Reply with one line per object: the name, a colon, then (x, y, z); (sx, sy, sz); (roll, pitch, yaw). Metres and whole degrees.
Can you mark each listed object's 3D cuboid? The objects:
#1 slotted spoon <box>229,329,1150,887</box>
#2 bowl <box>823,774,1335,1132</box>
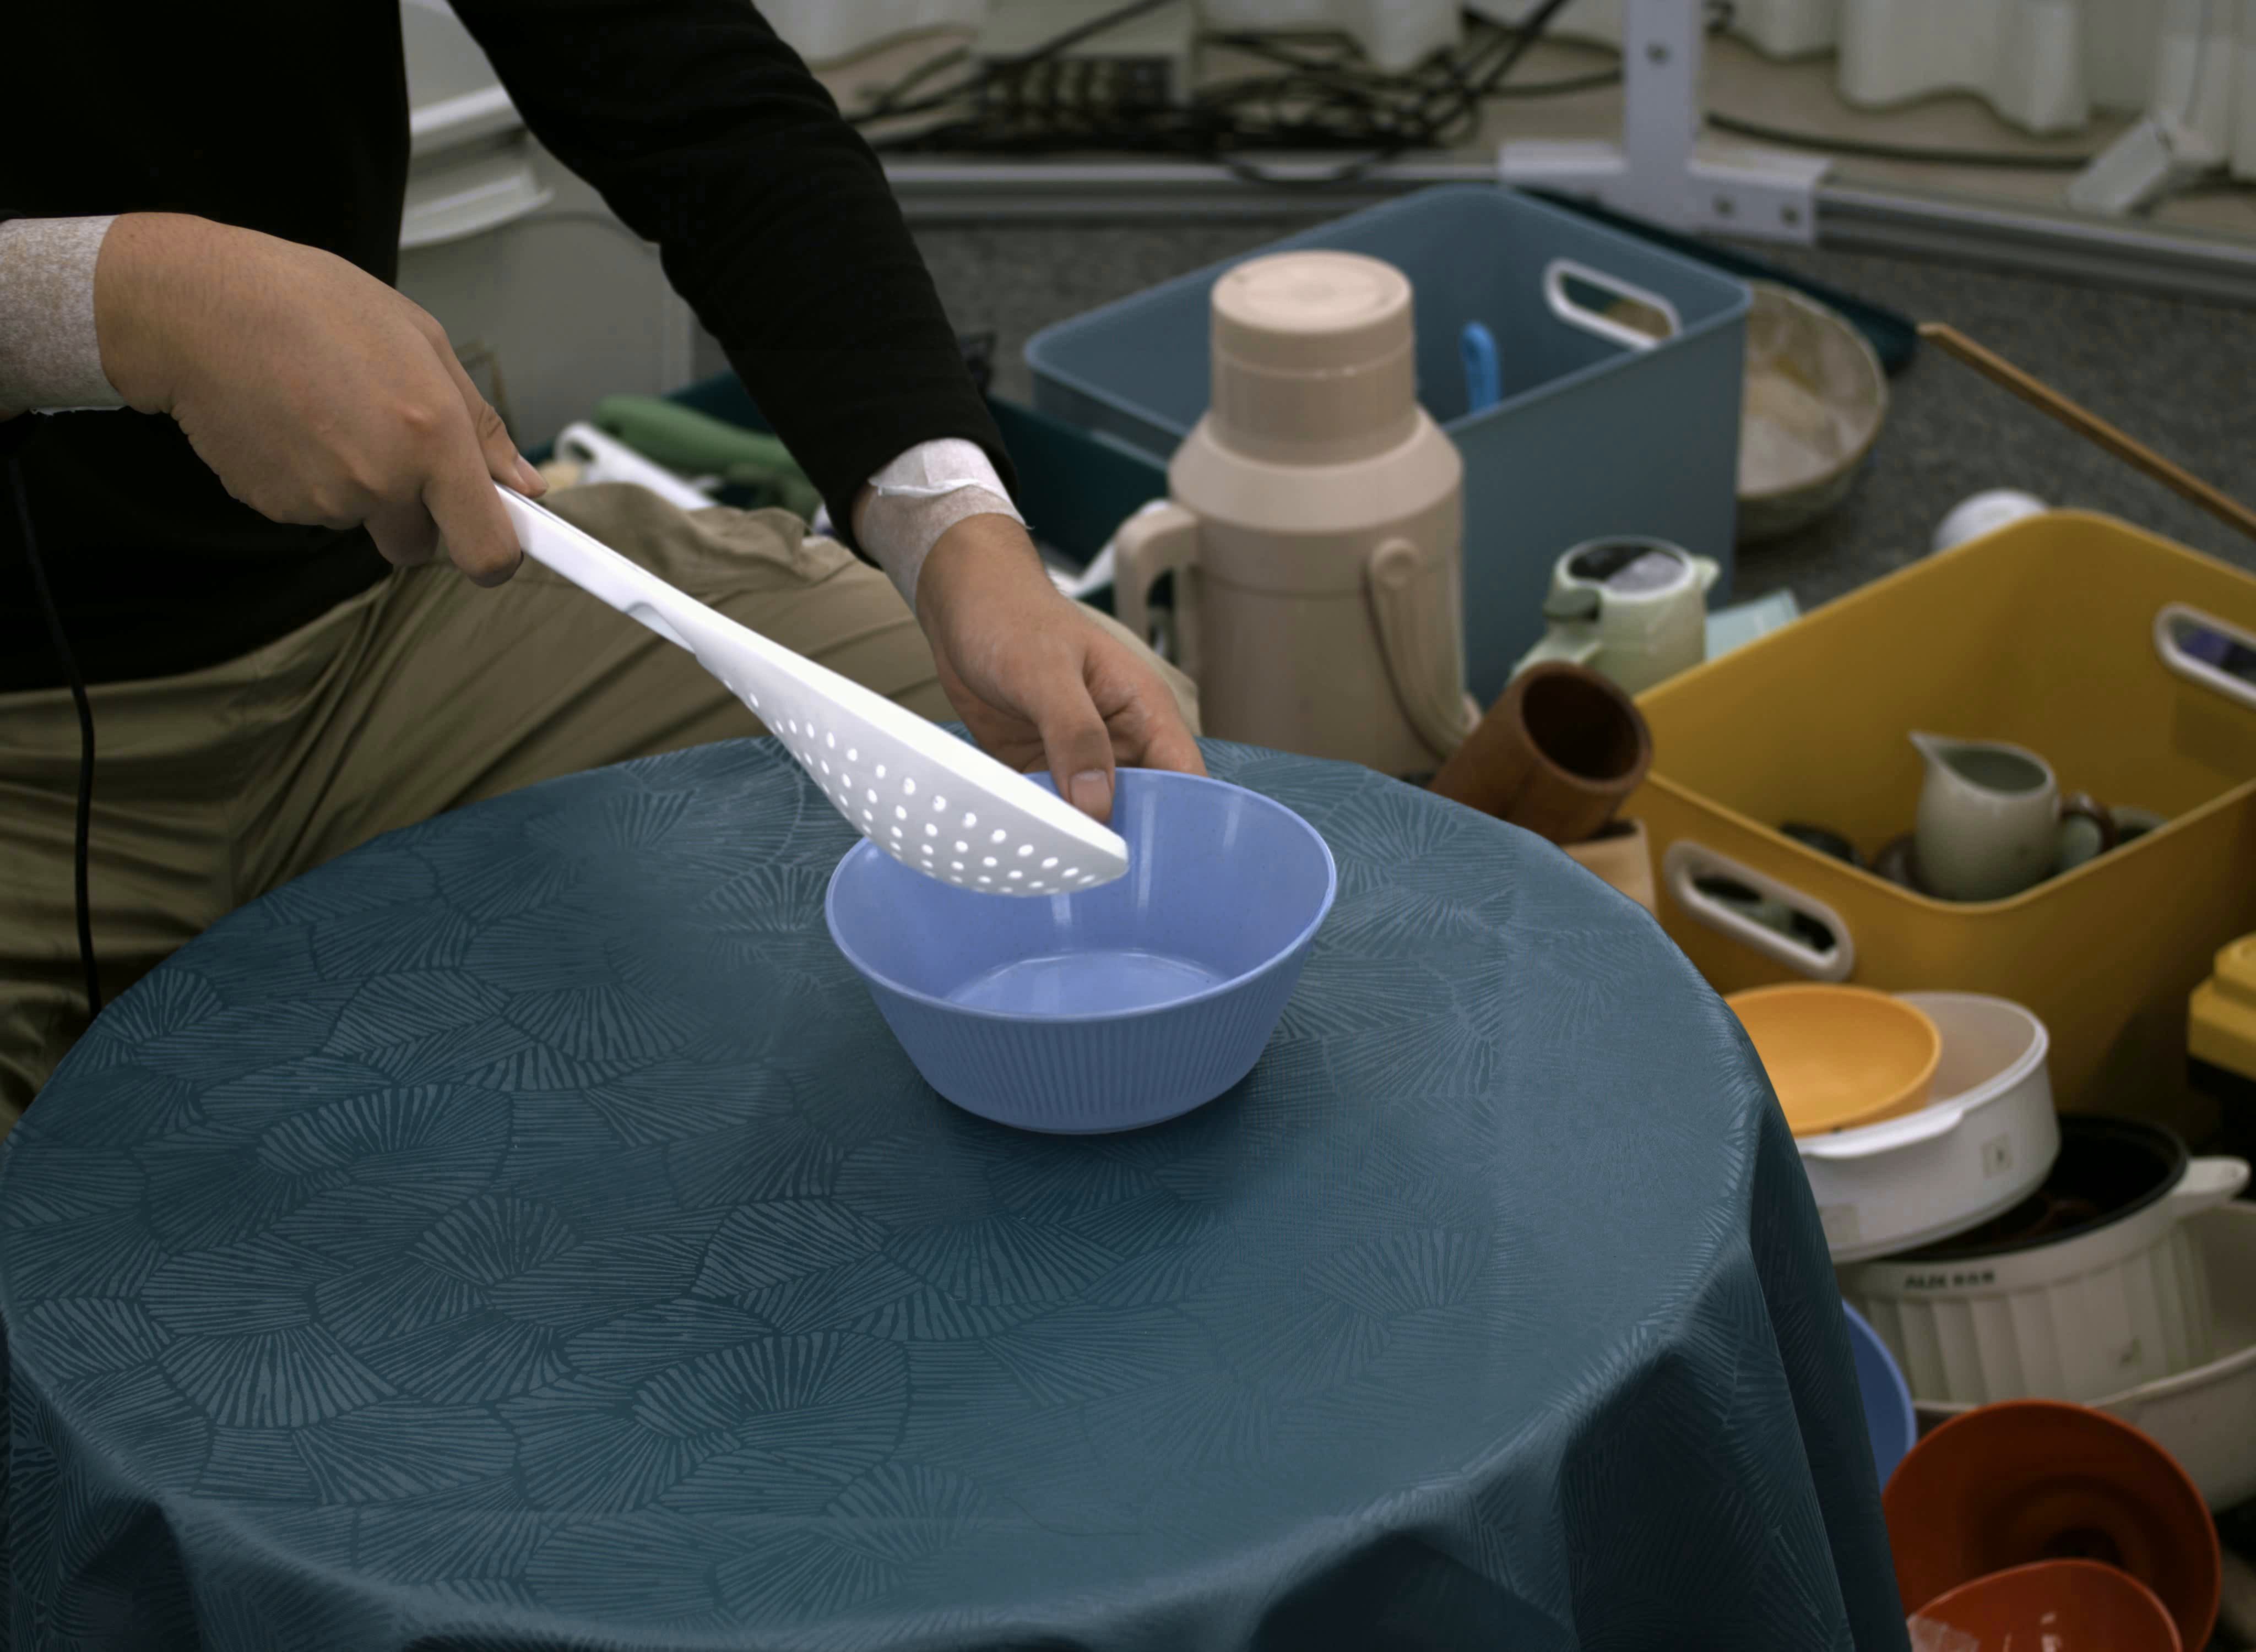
slotted spoon: (-0.147, -0.072, 1.845); (0.350, 0.046, 0.136); (35, 4, 10)
bowl: (-0.015, 0.049, 1.928); (0.175, 0.069, 0.178); (-3, 26, 2)
